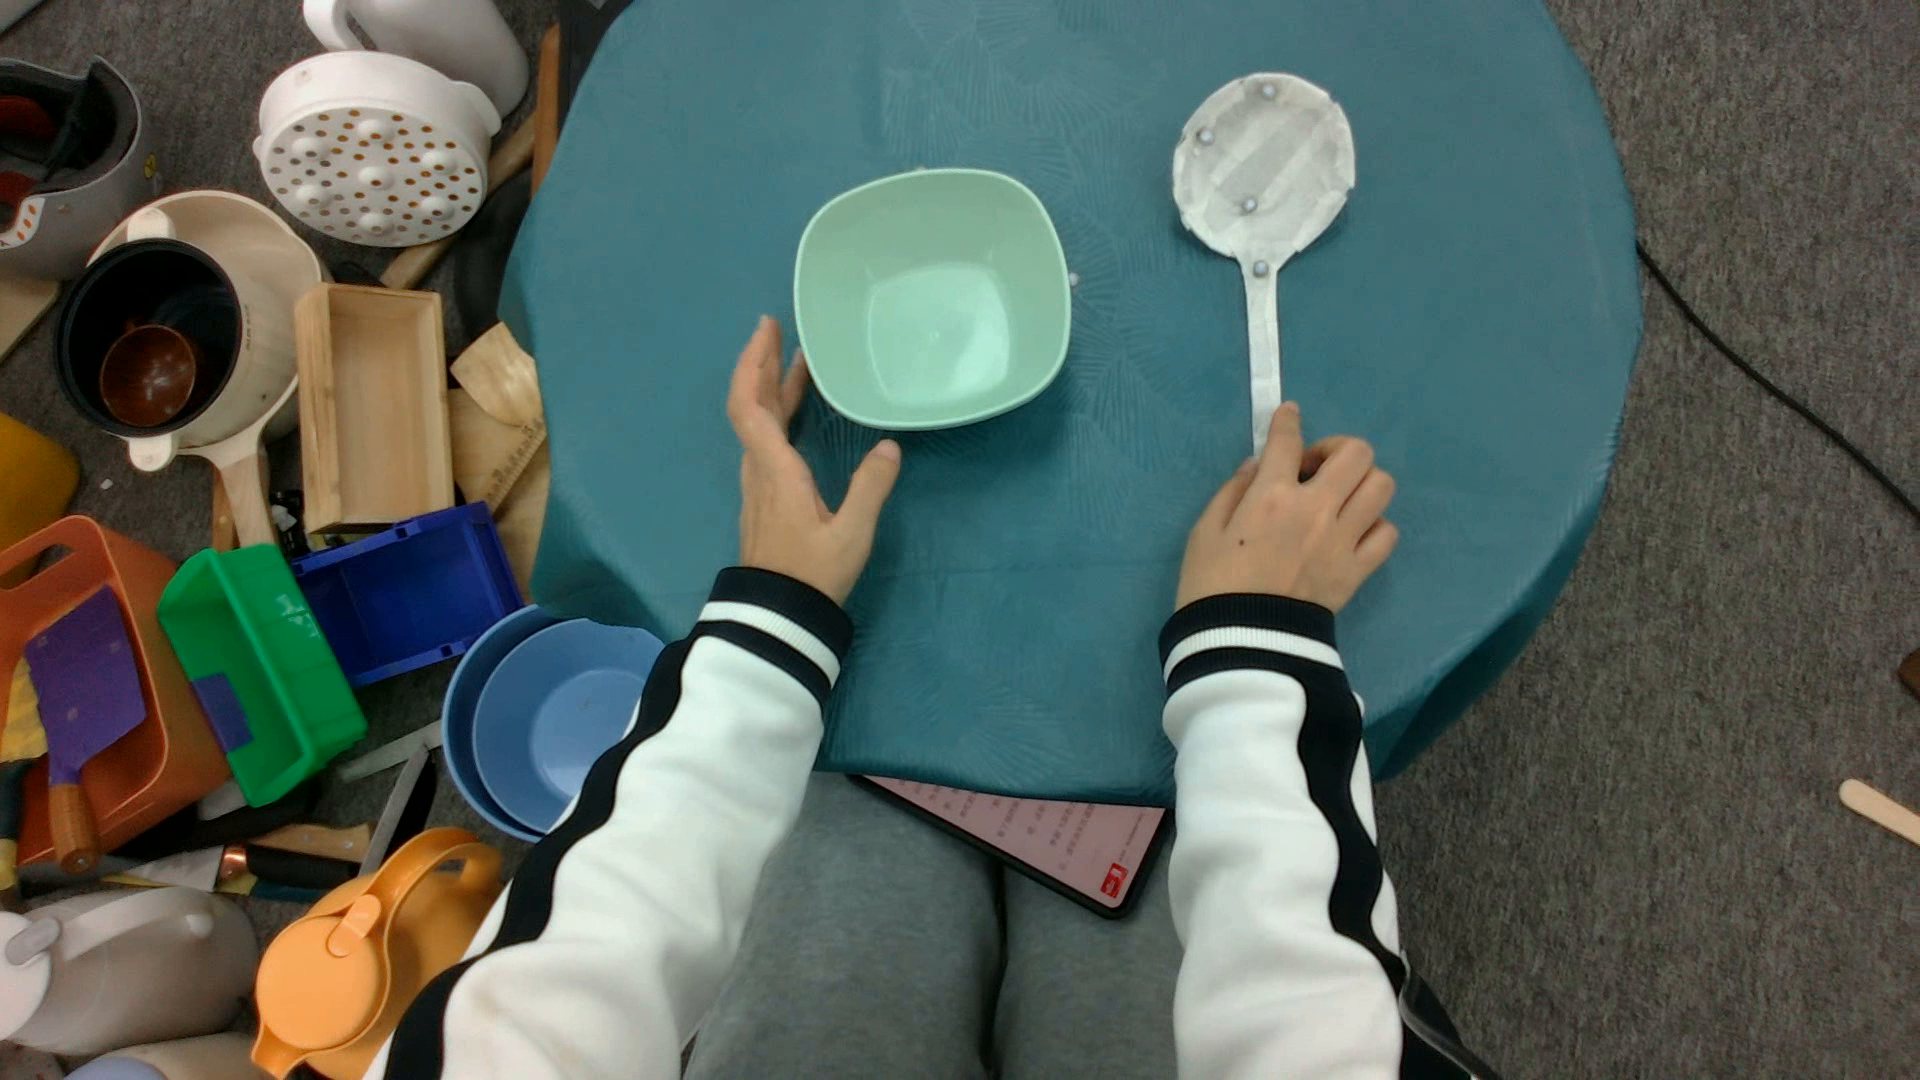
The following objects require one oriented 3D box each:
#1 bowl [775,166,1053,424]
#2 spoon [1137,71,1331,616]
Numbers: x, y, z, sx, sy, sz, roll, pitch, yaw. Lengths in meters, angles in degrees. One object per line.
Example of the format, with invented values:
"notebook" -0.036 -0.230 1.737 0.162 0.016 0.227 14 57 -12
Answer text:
"bowl" -0.022 -0.119 0.717 0.151 0.058 0.152 -1 75 2
"spoon" 0.139 -0.102 0.703 0.100 0.059 0.278 0 75 10
